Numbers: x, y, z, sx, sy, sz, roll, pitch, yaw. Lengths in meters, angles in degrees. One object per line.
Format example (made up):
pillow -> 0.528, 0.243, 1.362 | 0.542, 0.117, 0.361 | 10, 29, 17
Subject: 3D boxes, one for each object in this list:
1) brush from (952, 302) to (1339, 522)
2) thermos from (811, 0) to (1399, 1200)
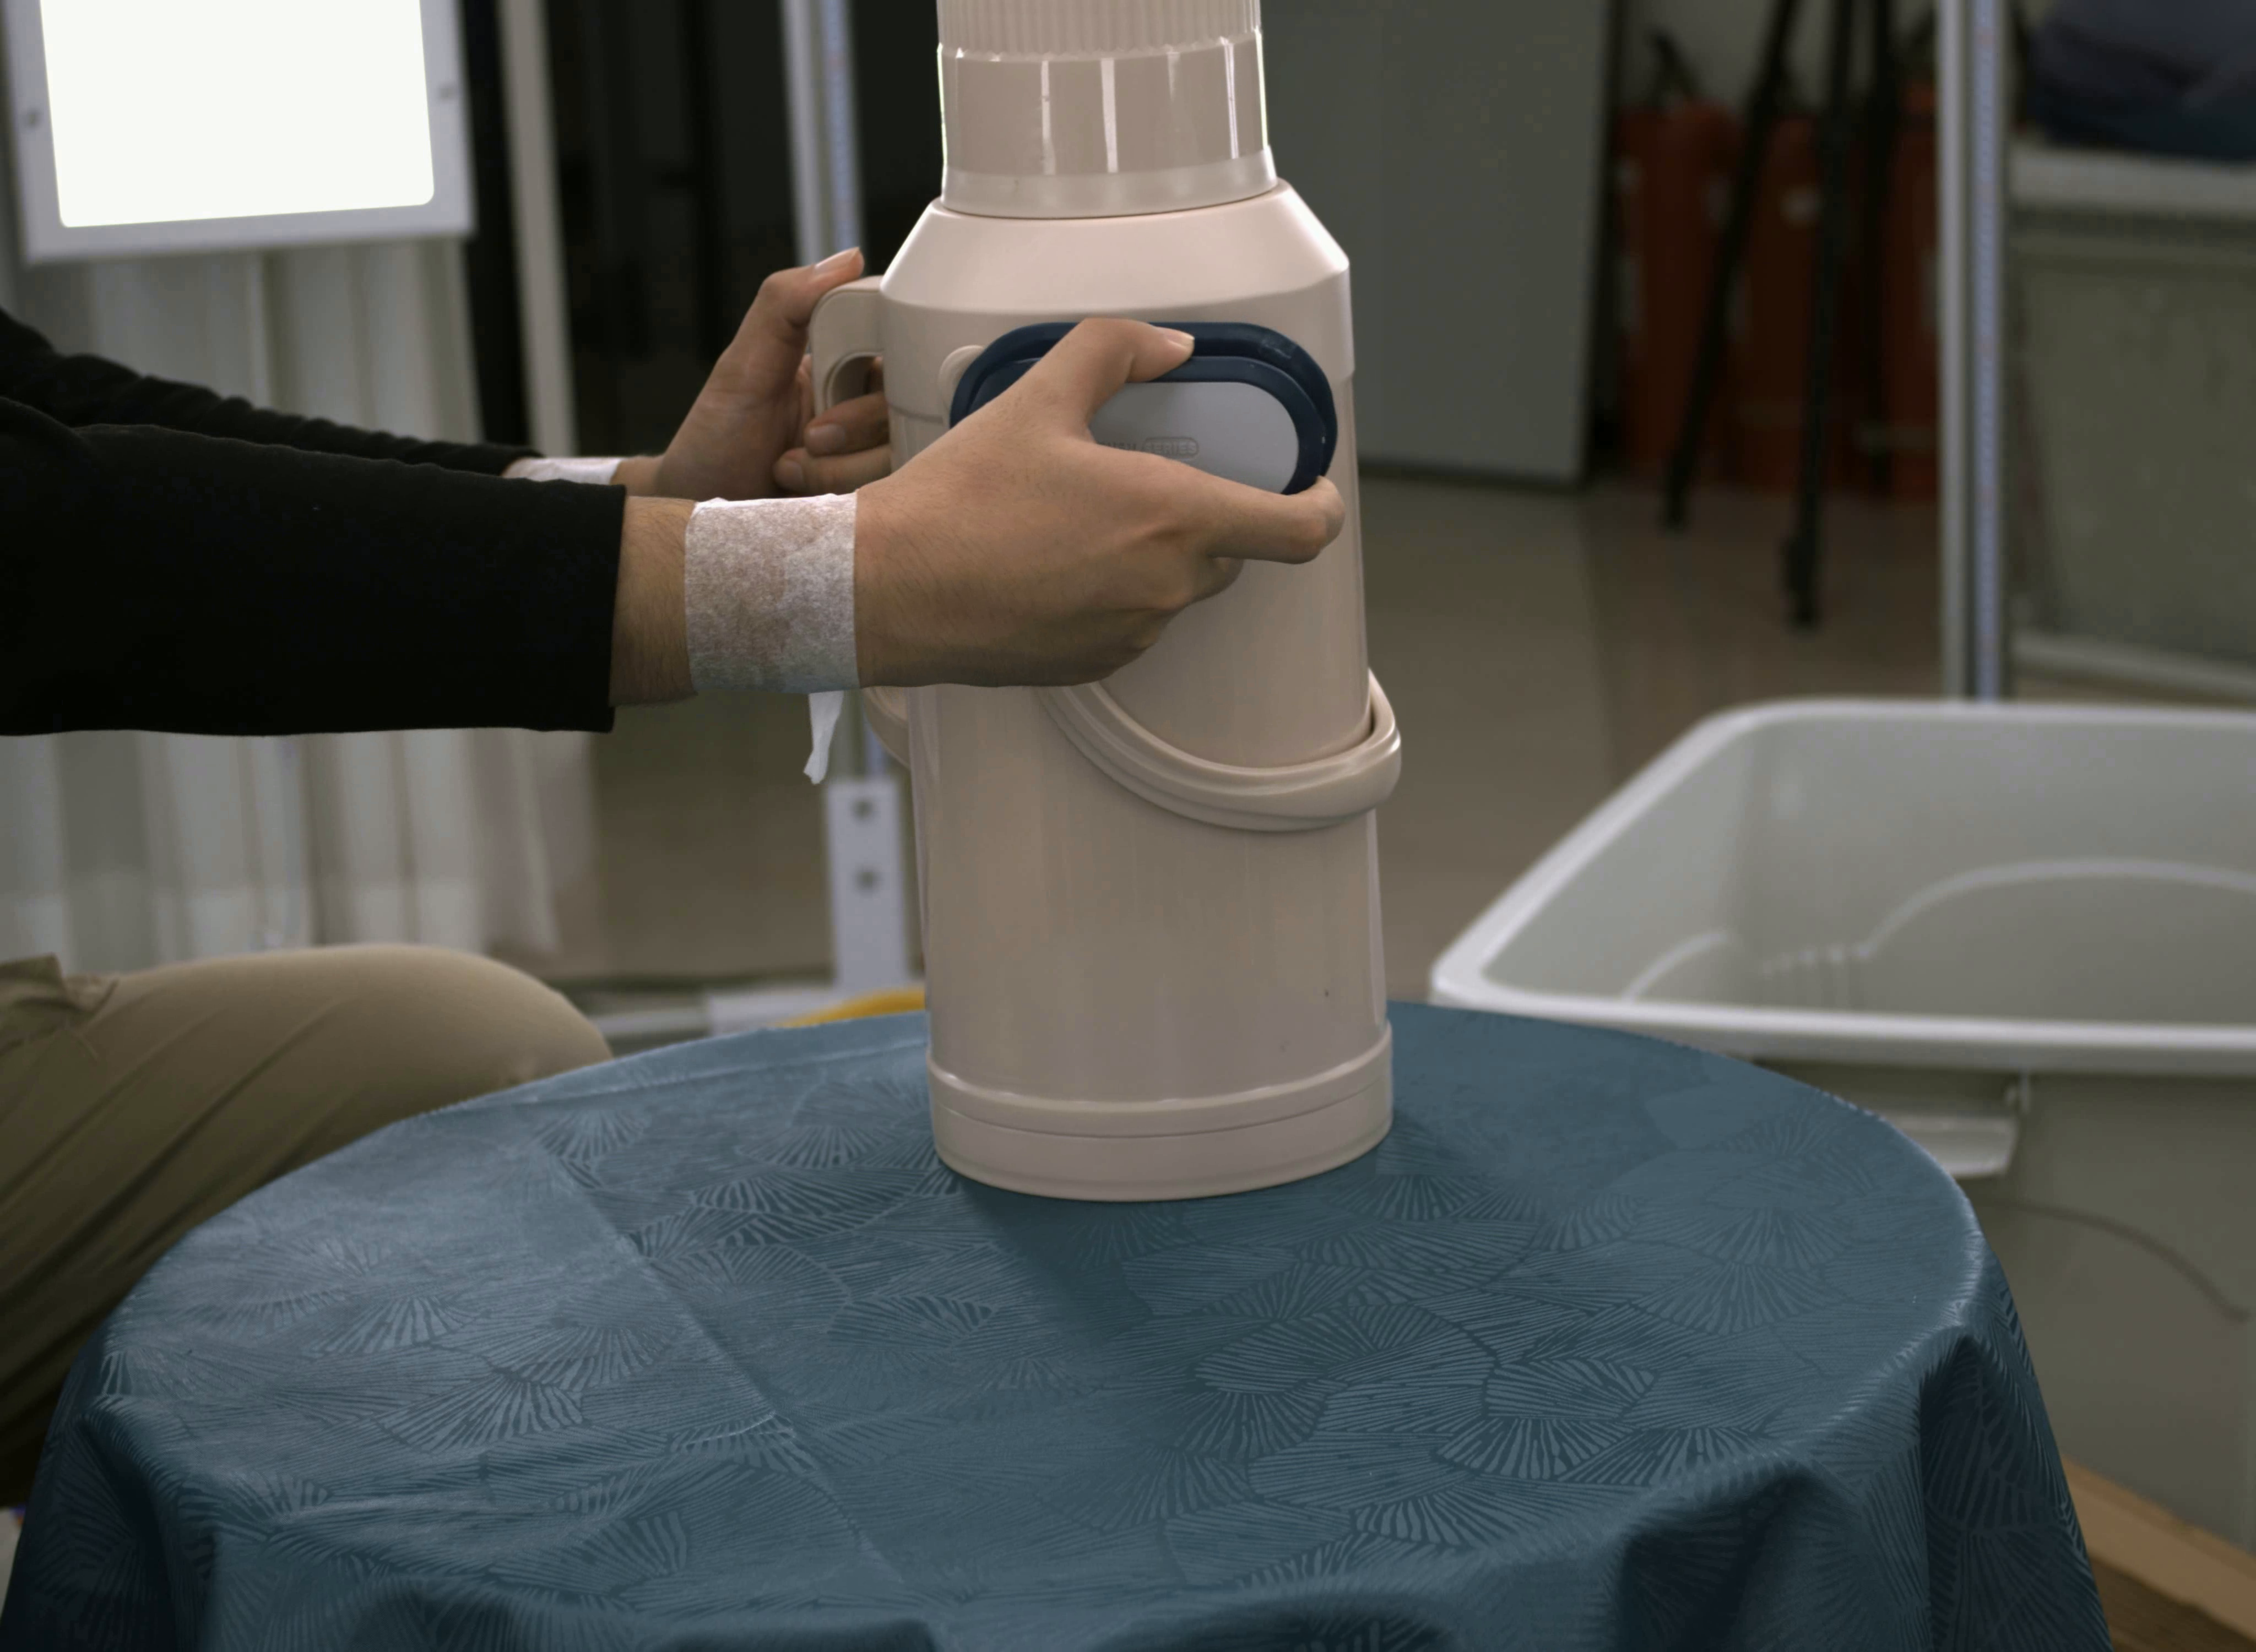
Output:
brush -> 0.005, -0.128, 1.674 | 0.120, 0.068, 0.061 | 2, 18, 3
thermos -> -0.011, -0.091, 1.799 | 0.208, 0.411, 0.172 | 5, 17, 32
